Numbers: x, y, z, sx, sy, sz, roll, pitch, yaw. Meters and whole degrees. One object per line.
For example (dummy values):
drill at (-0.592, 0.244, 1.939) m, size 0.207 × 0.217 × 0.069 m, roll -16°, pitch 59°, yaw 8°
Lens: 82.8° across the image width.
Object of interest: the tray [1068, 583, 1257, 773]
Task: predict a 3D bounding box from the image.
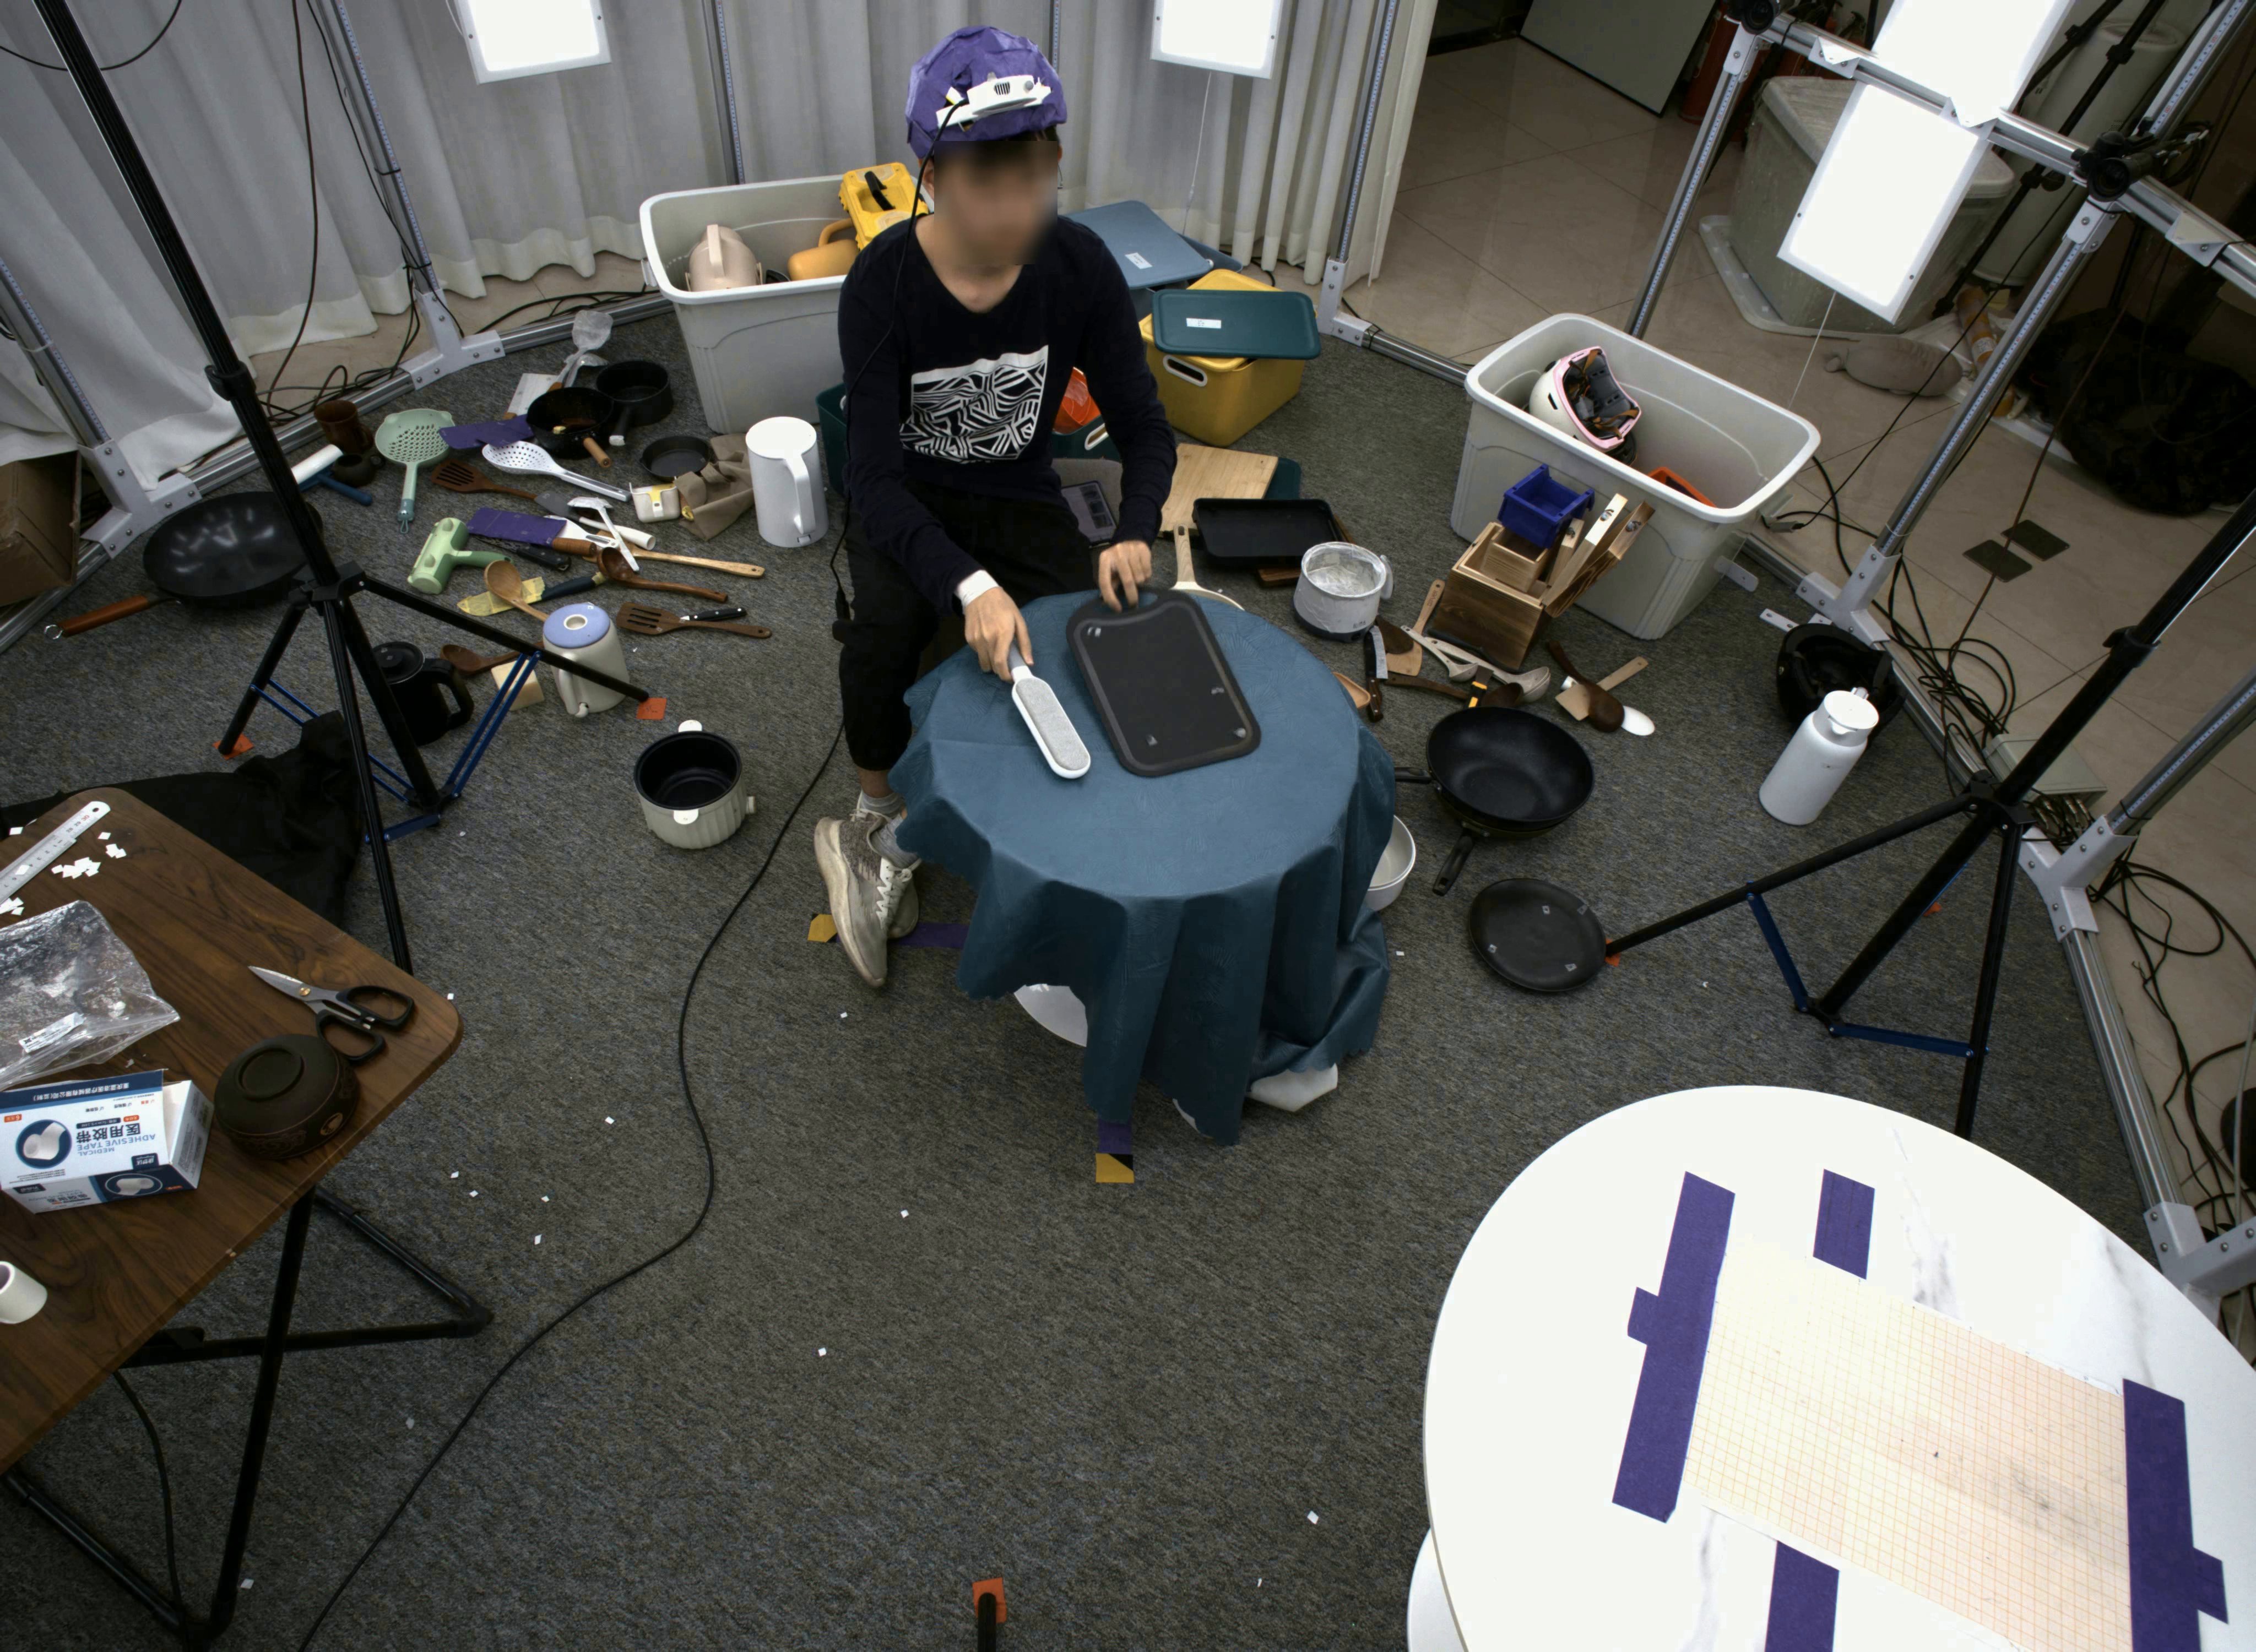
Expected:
tray at (0.042, -0.221, 1.824) m, size 0.211 × 0.009 × 0.332 m, roll -12°, pitch 60°, yaw -15°

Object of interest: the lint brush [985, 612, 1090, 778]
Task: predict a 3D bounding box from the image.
lint brush at (-0.131, -0.187, 1.784) m, size 0.060 × 0.020 × 0.315 m, roll -16°, pitch 57°, yaw -22°
